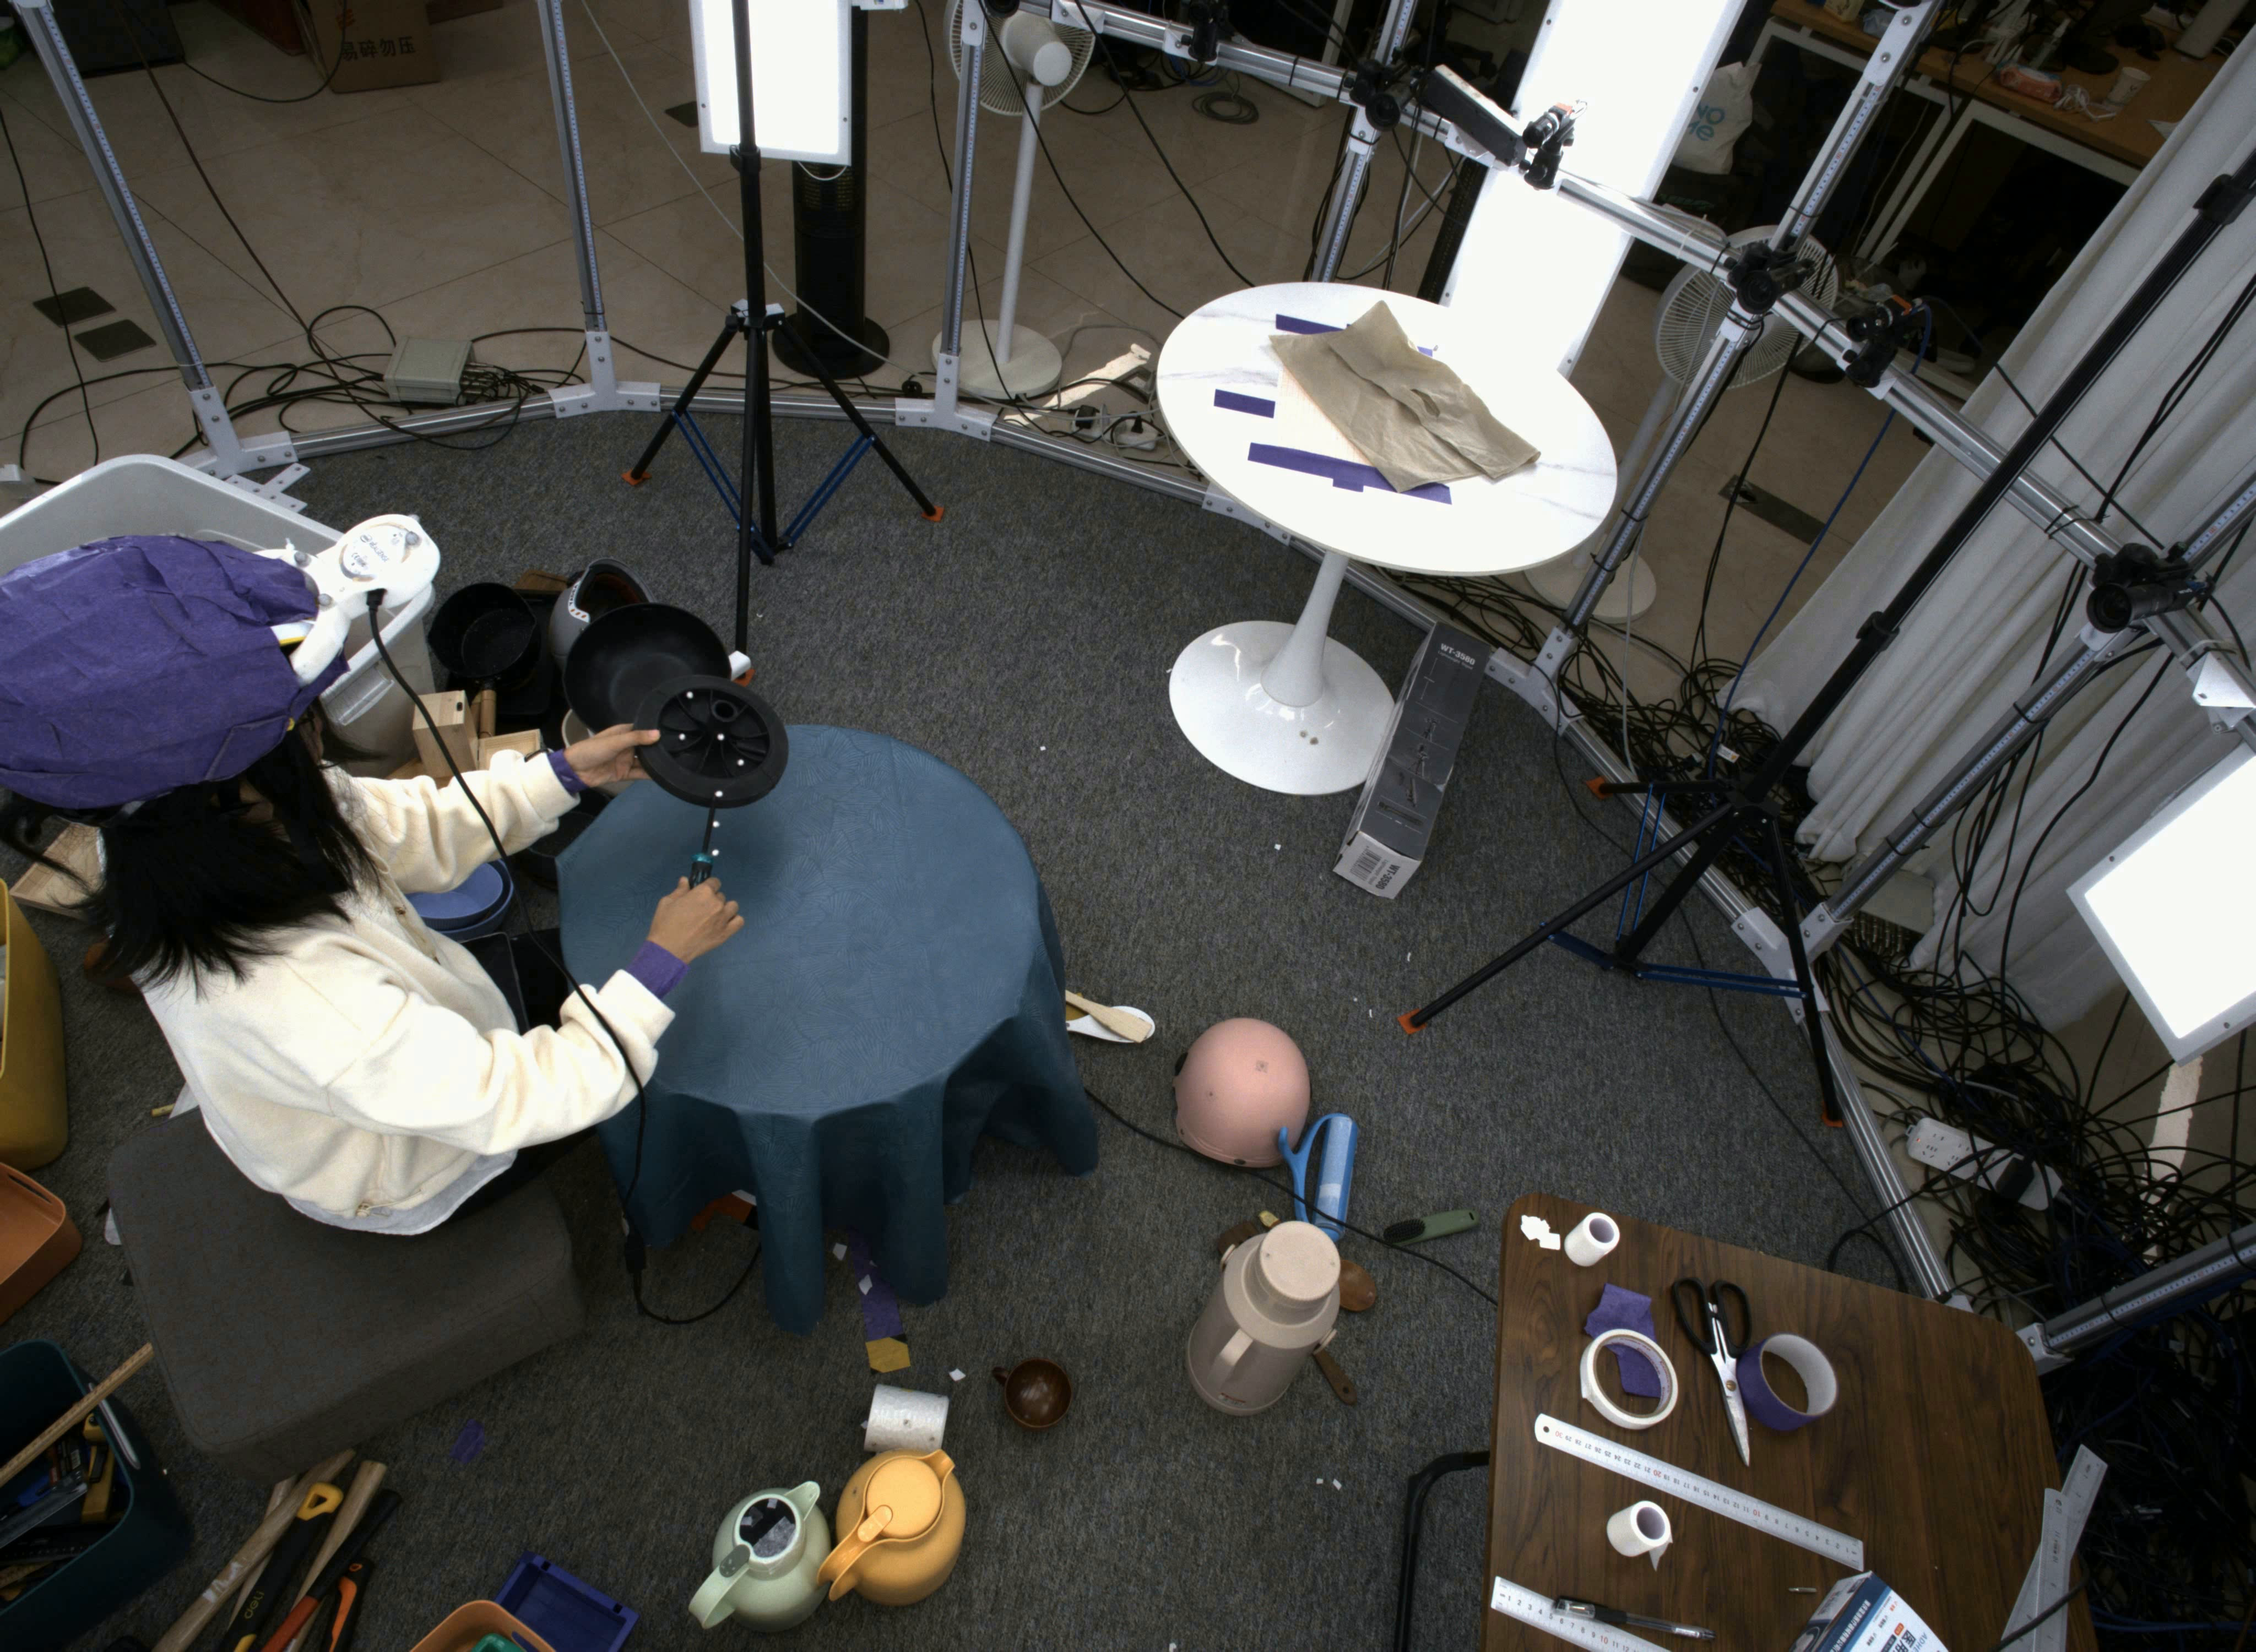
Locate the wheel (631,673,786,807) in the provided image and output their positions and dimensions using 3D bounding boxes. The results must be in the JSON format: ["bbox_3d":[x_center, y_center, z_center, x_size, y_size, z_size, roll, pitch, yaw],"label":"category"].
[{"bbox_3d":[-0.501,-0.119,1.556,0.193,0.079,0.184,-8,64,-41],"label":"wheel"}]

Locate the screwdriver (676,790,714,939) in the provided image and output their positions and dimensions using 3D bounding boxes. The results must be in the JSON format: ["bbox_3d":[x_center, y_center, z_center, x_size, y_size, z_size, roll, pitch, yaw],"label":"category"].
[{"bbox_3d":[-0.488,0.038,1.471,0.033,0.034,0.187,5,59,-10],"label":"screwdriver"}]
